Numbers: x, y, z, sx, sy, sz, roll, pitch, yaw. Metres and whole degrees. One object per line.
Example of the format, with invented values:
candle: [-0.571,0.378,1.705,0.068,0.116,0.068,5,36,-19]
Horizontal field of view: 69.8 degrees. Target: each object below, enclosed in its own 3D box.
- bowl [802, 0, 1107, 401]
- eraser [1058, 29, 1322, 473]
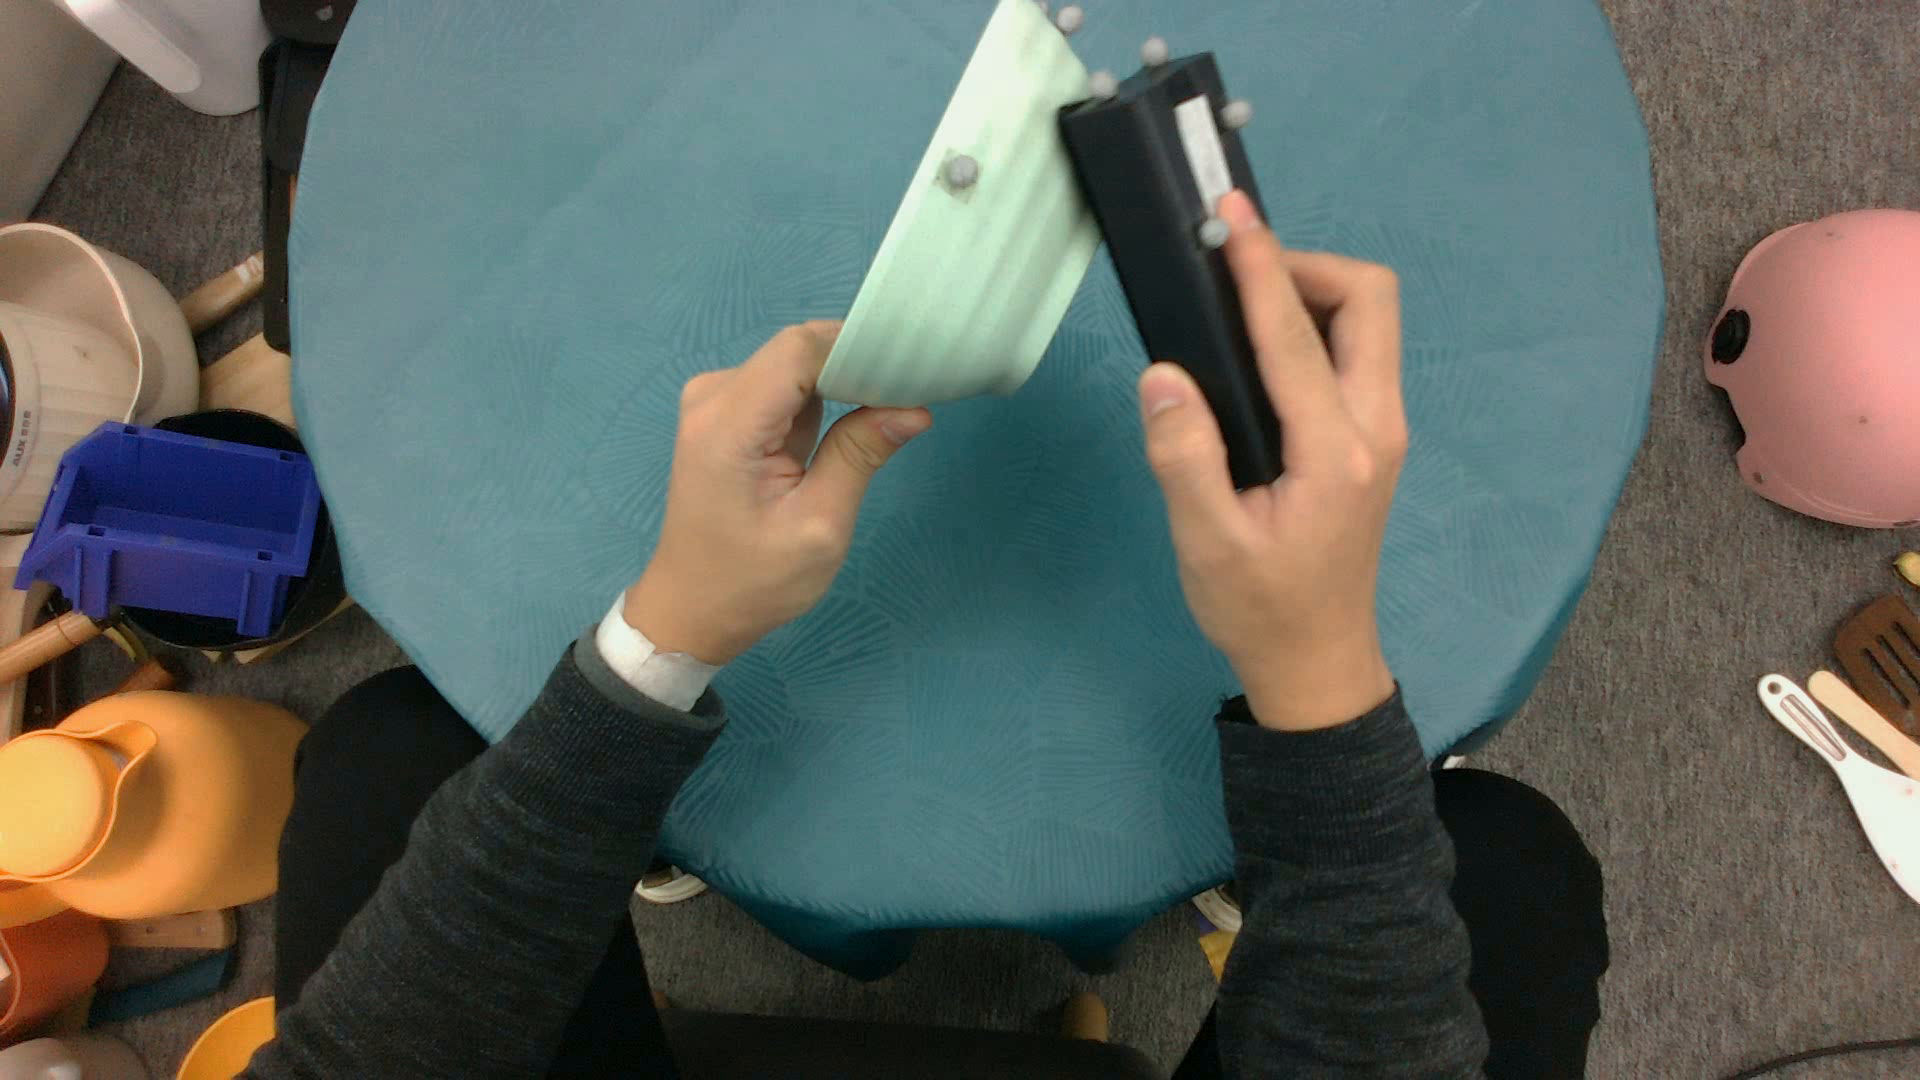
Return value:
bowl: [0.006,-0.098,0.452,0.058,0.151,0.151,29,82,-8]
eraser: [0.073,-0.086,0.423,0.054,0.030,0.125,-41,117,-39]
